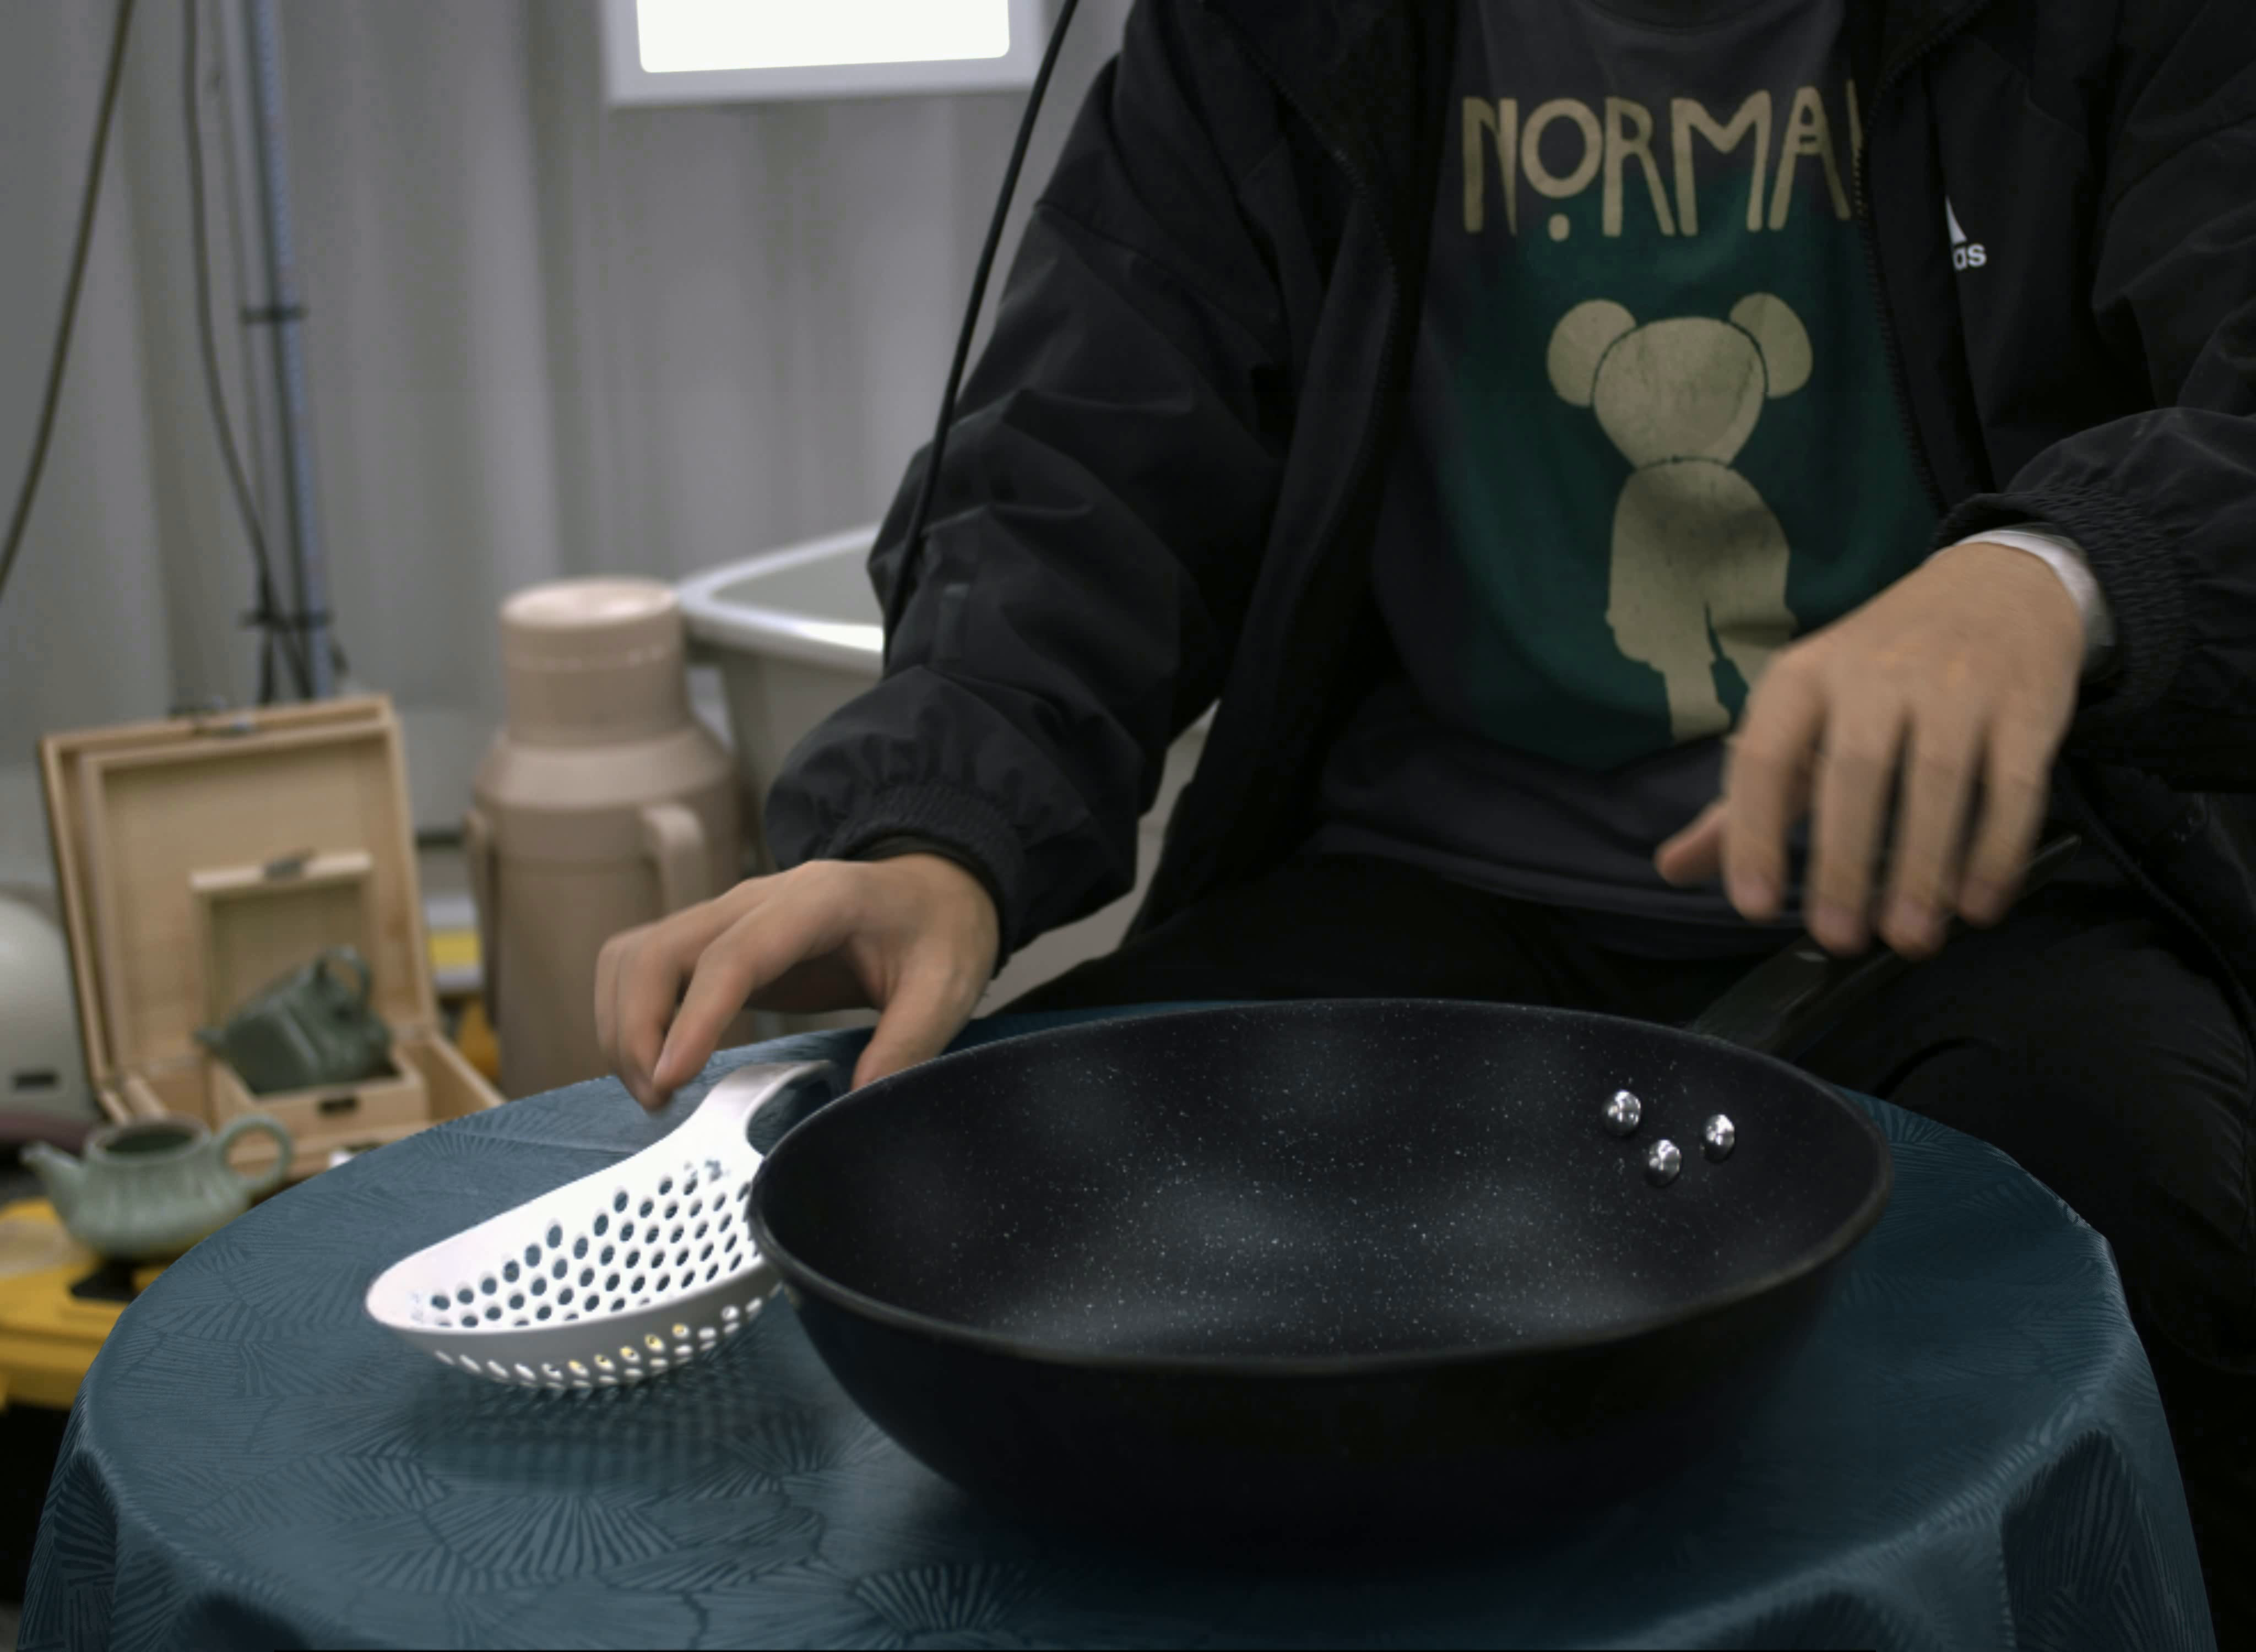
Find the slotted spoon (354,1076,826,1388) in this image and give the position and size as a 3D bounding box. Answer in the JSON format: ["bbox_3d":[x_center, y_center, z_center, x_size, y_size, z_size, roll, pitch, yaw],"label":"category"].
[{"bbox_3d":[-0.131,0.110,1.676,0.136,0.050,0.350,-7,14,11],"label":"slotted spoon"}]

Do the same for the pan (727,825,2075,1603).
[{"bbox_3d":[0.109,0.106,1.524,0.476,0.111,0.312,-17,22,-41],"label":"pan"}]
